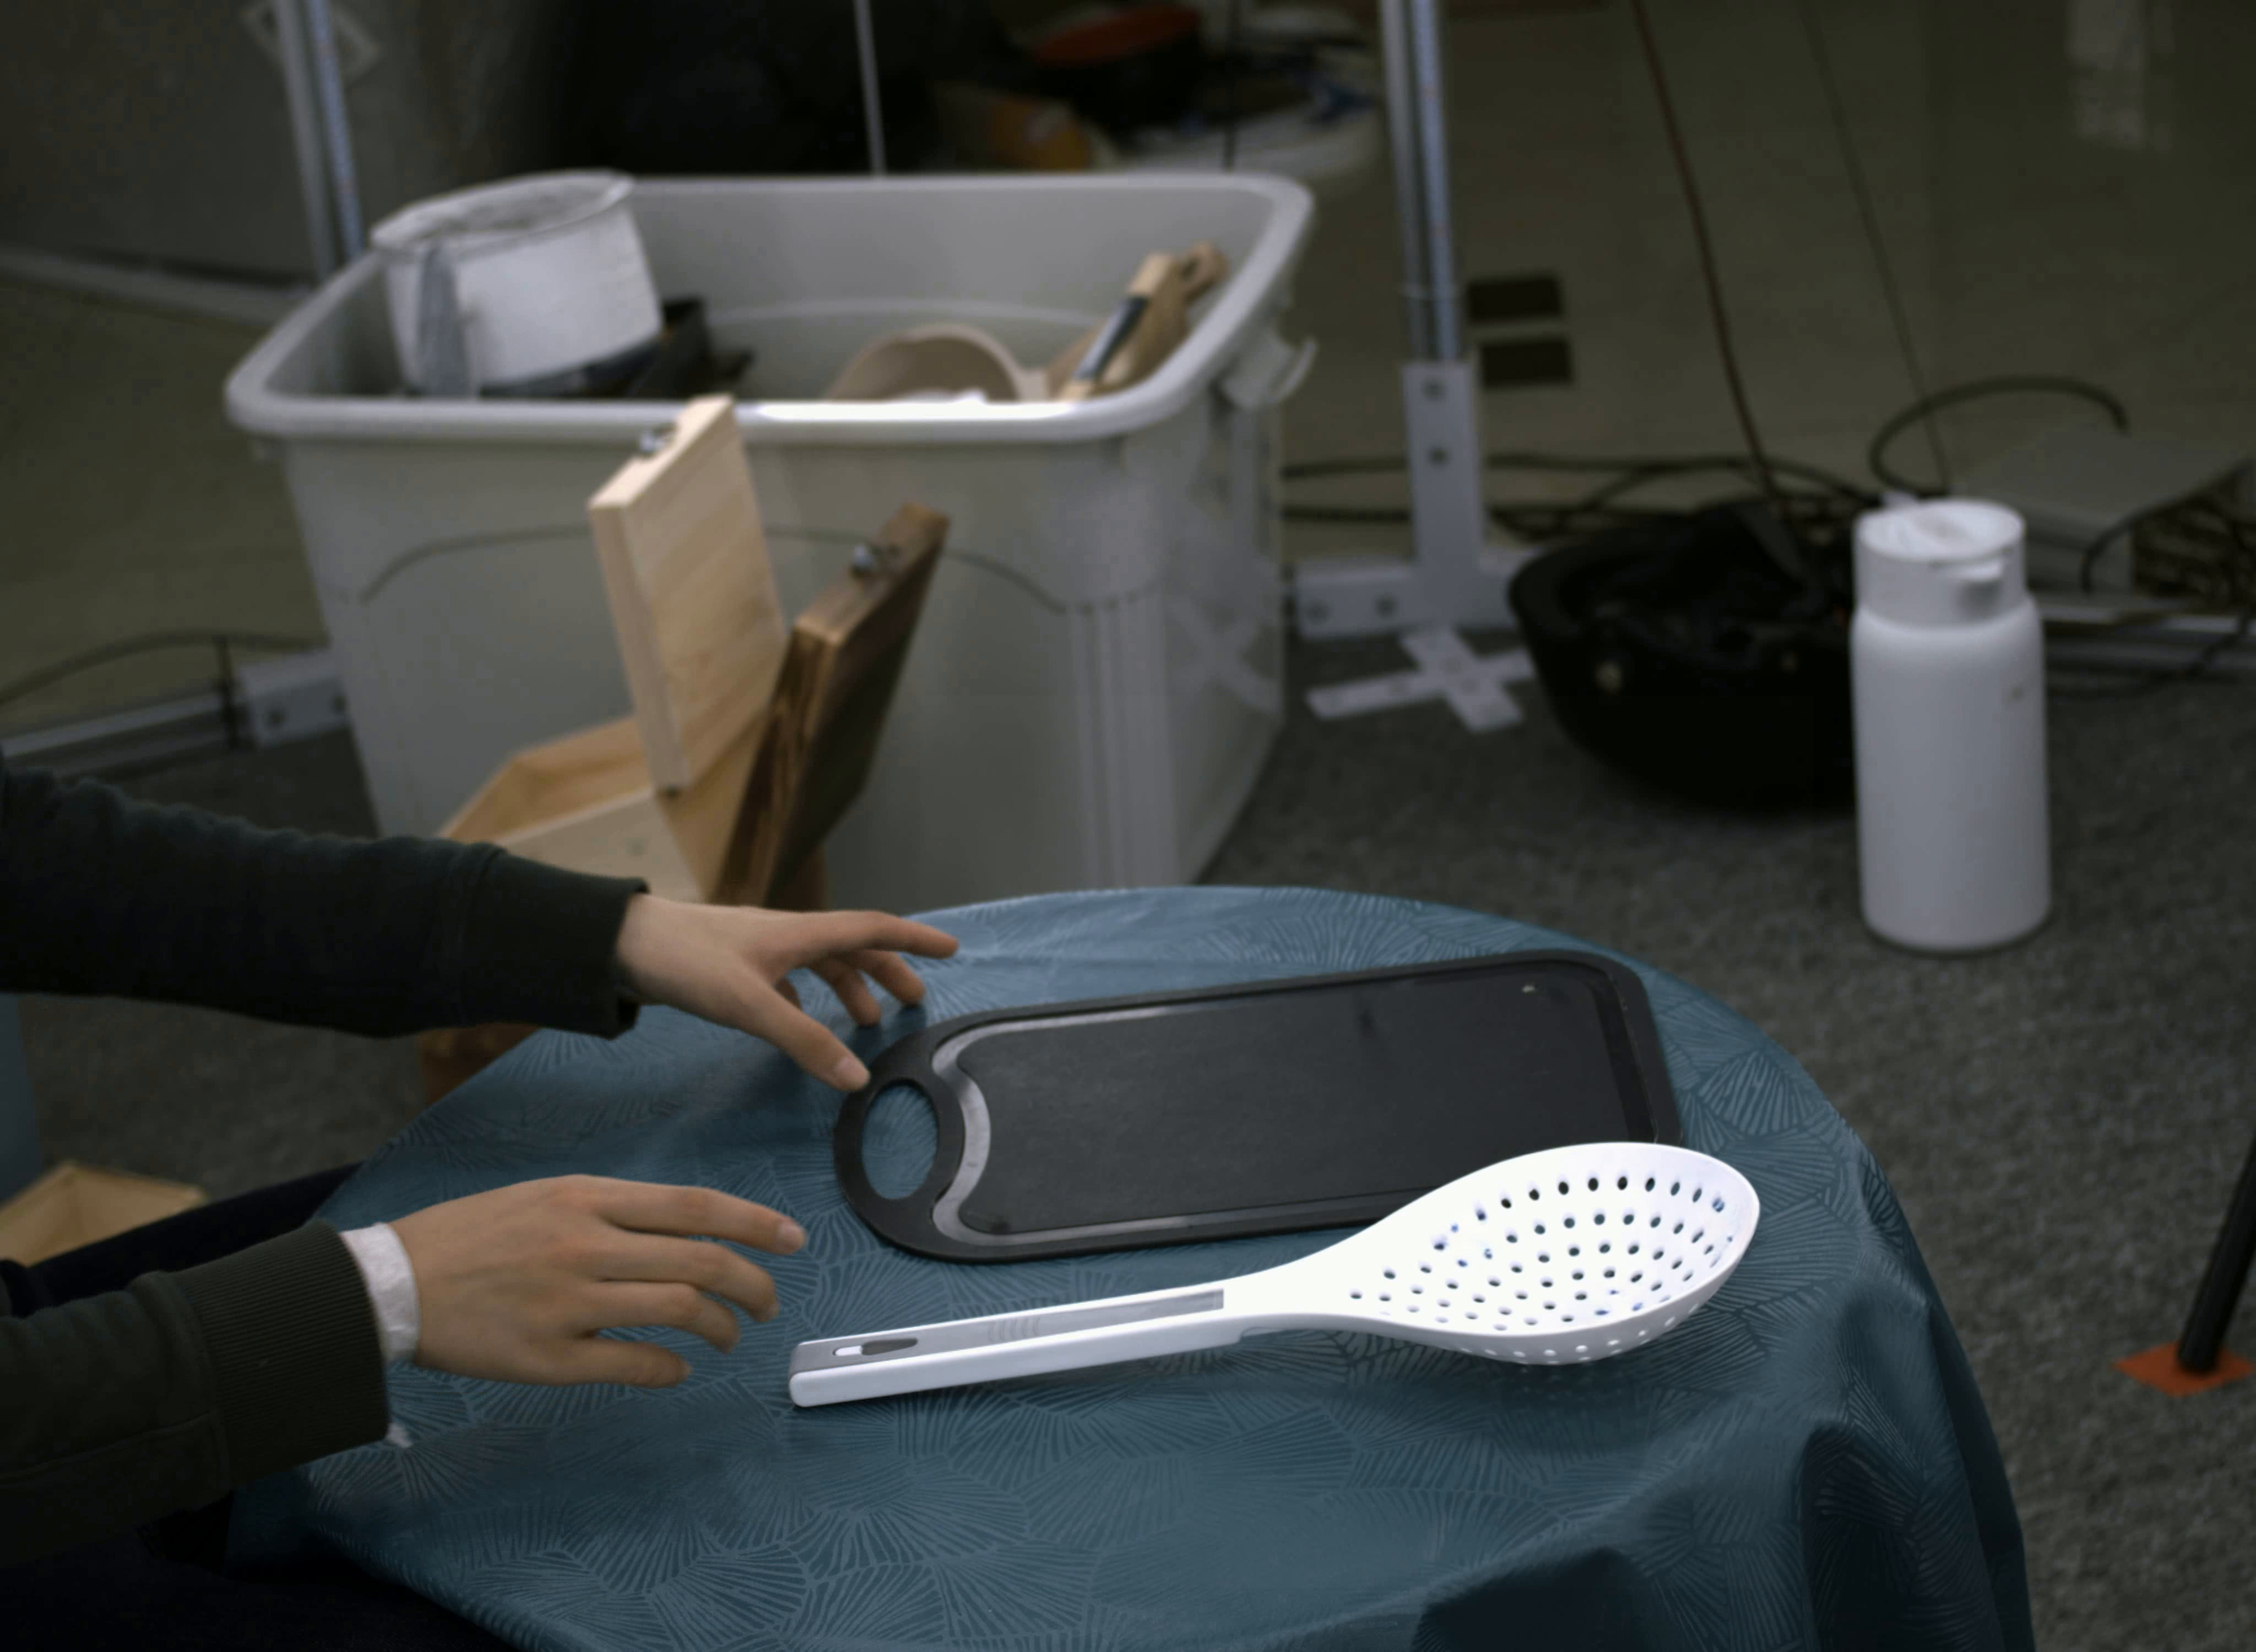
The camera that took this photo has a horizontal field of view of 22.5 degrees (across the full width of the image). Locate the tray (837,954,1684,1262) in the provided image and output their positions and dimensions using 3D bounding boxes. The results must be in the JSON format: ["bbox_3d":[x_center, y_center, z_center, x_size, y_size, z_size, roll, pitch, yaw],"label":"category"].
[{"bbox_3d":[0.048,0.107,2.202,0.325,0.010,0.208,-6,24,1],"label":"tray"}]

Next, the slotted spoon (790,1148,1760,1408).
[{"bbox_3d":[0.051,0.170,2.019,0.349,0.046,0.134,-5,23,4],"label":"slotted spoon"}]
